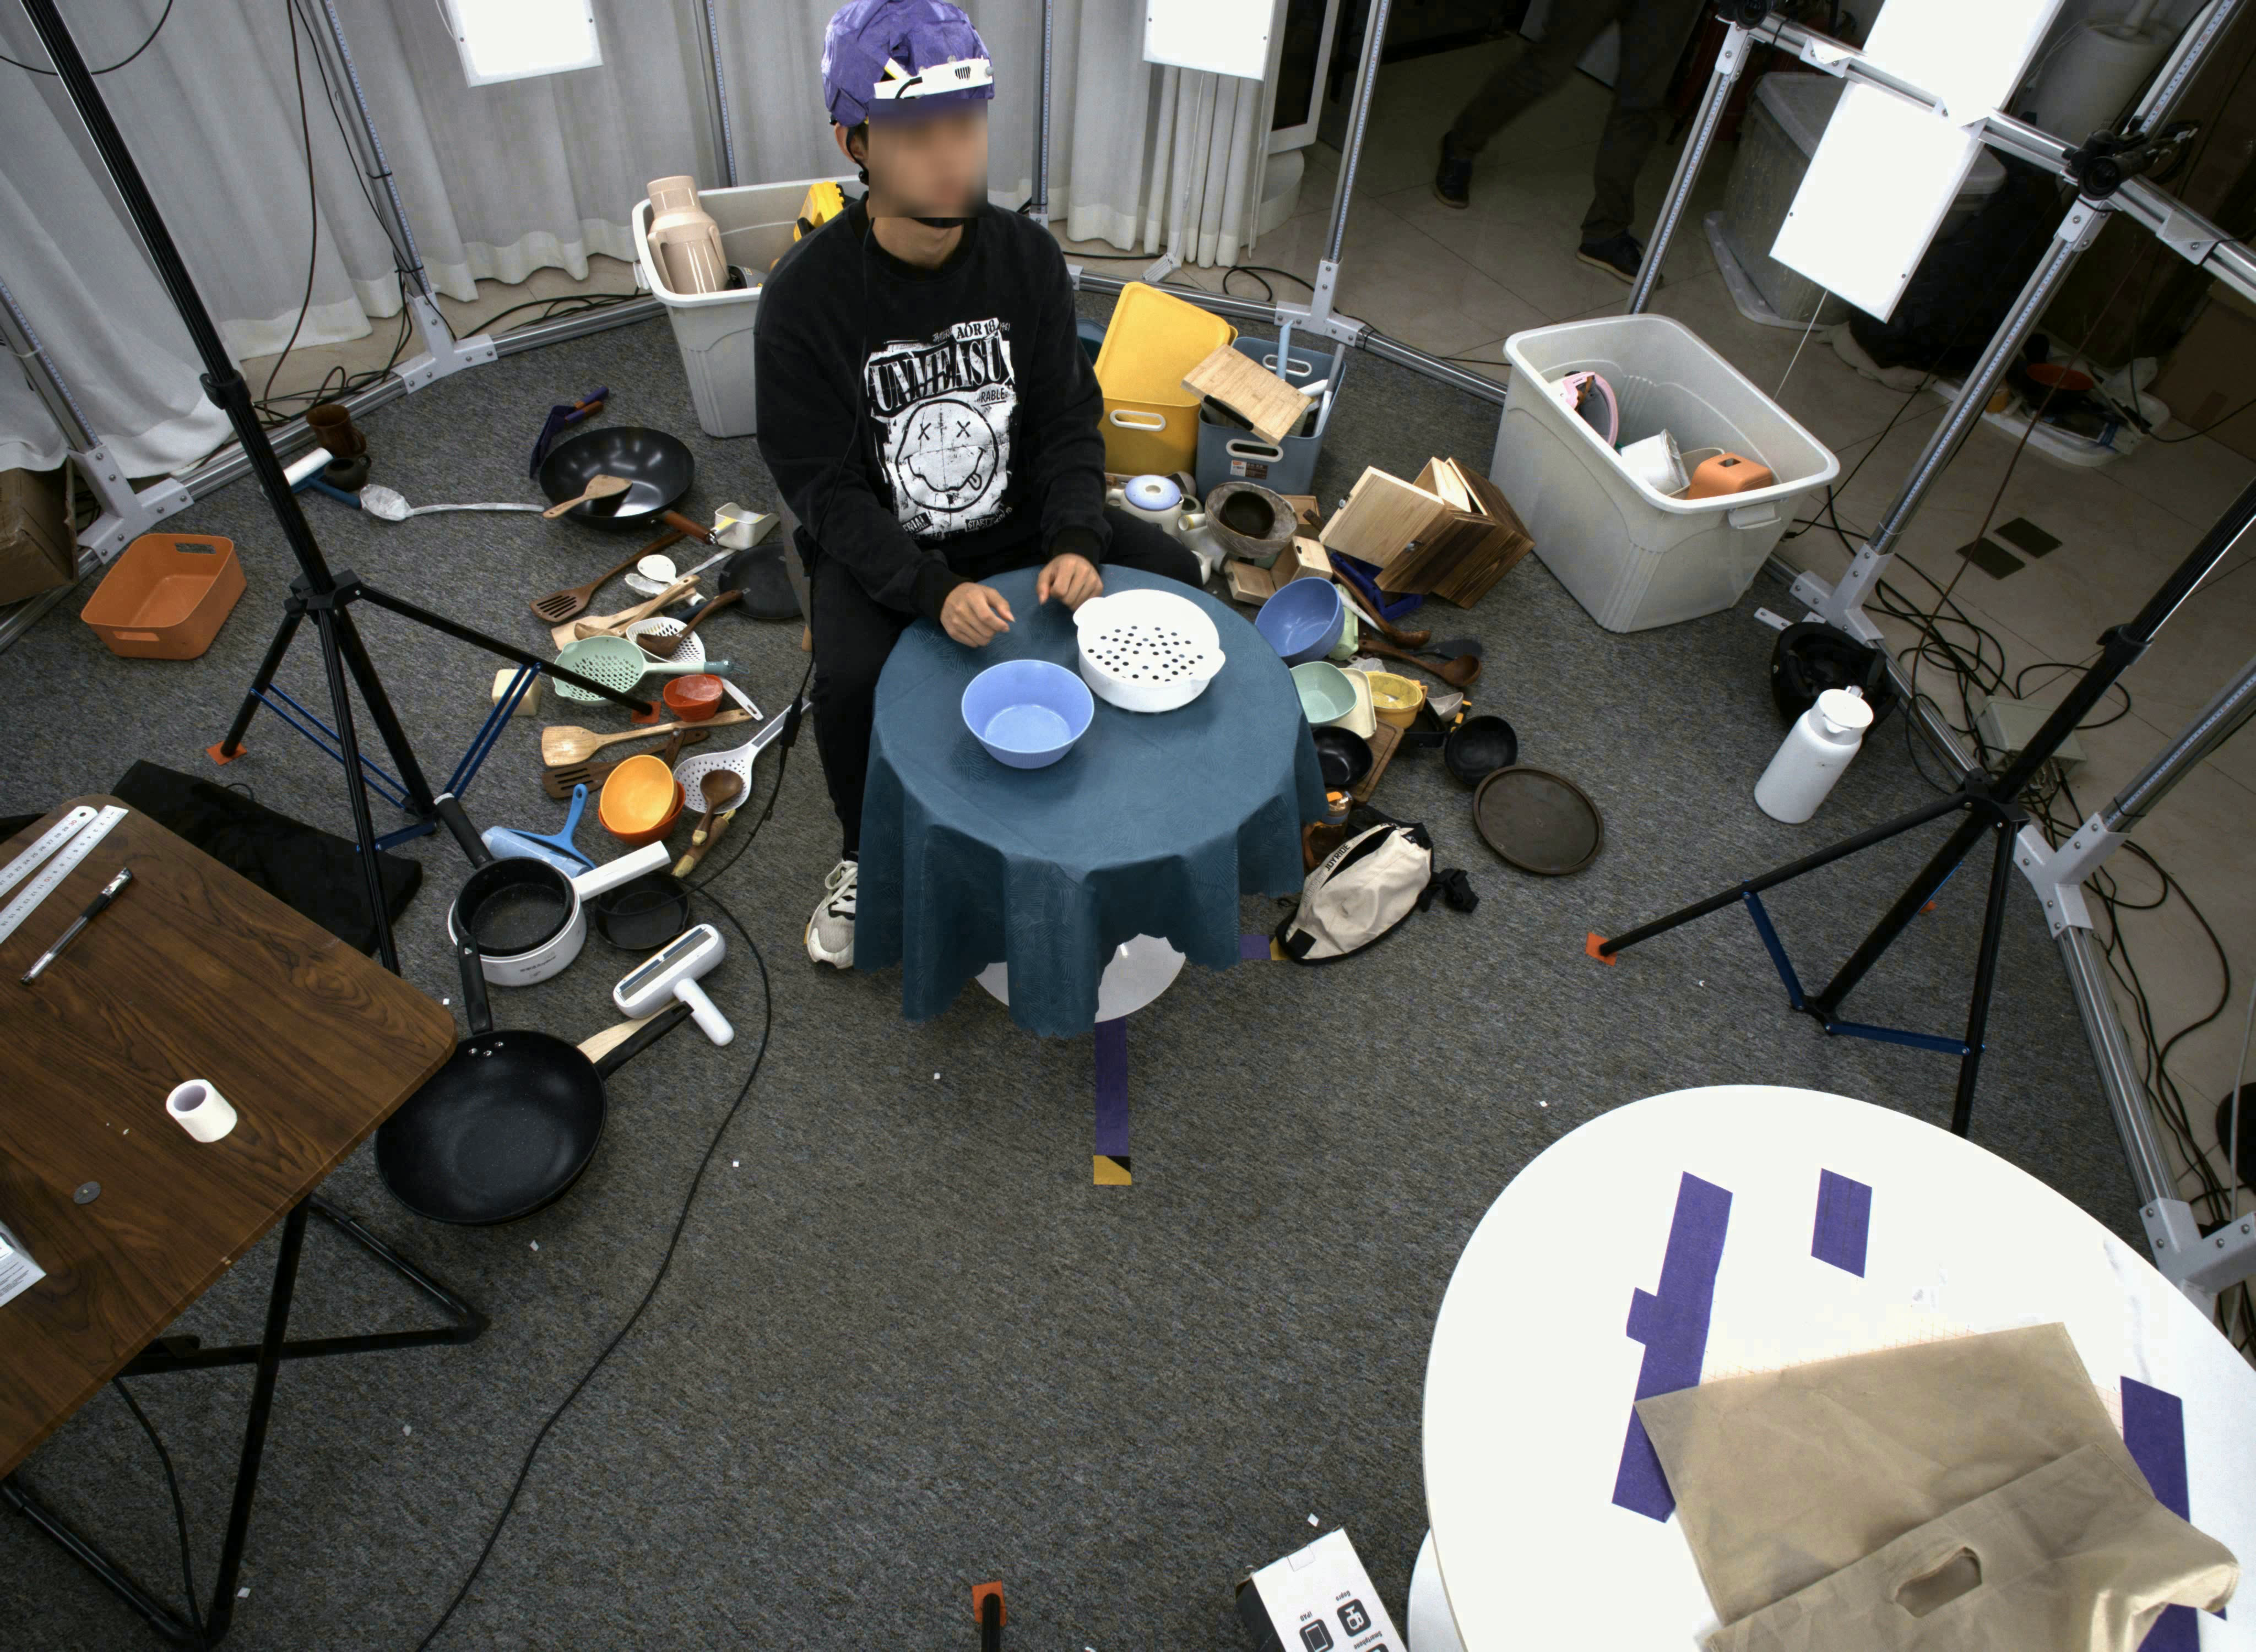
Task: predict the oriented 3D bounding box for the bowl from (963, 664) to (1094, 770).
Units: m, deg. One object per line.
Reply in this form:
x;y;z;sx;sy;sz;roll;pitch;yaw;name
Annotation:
-0.136;-0.140;1.751;0.176;0.068;0.180;2;48;-3;bowl

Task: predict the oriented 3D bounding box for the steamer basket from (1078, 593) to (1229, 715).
0.033;-0.247;1.858;0.232;0.067;0.205;27;52;16;steamer basket
